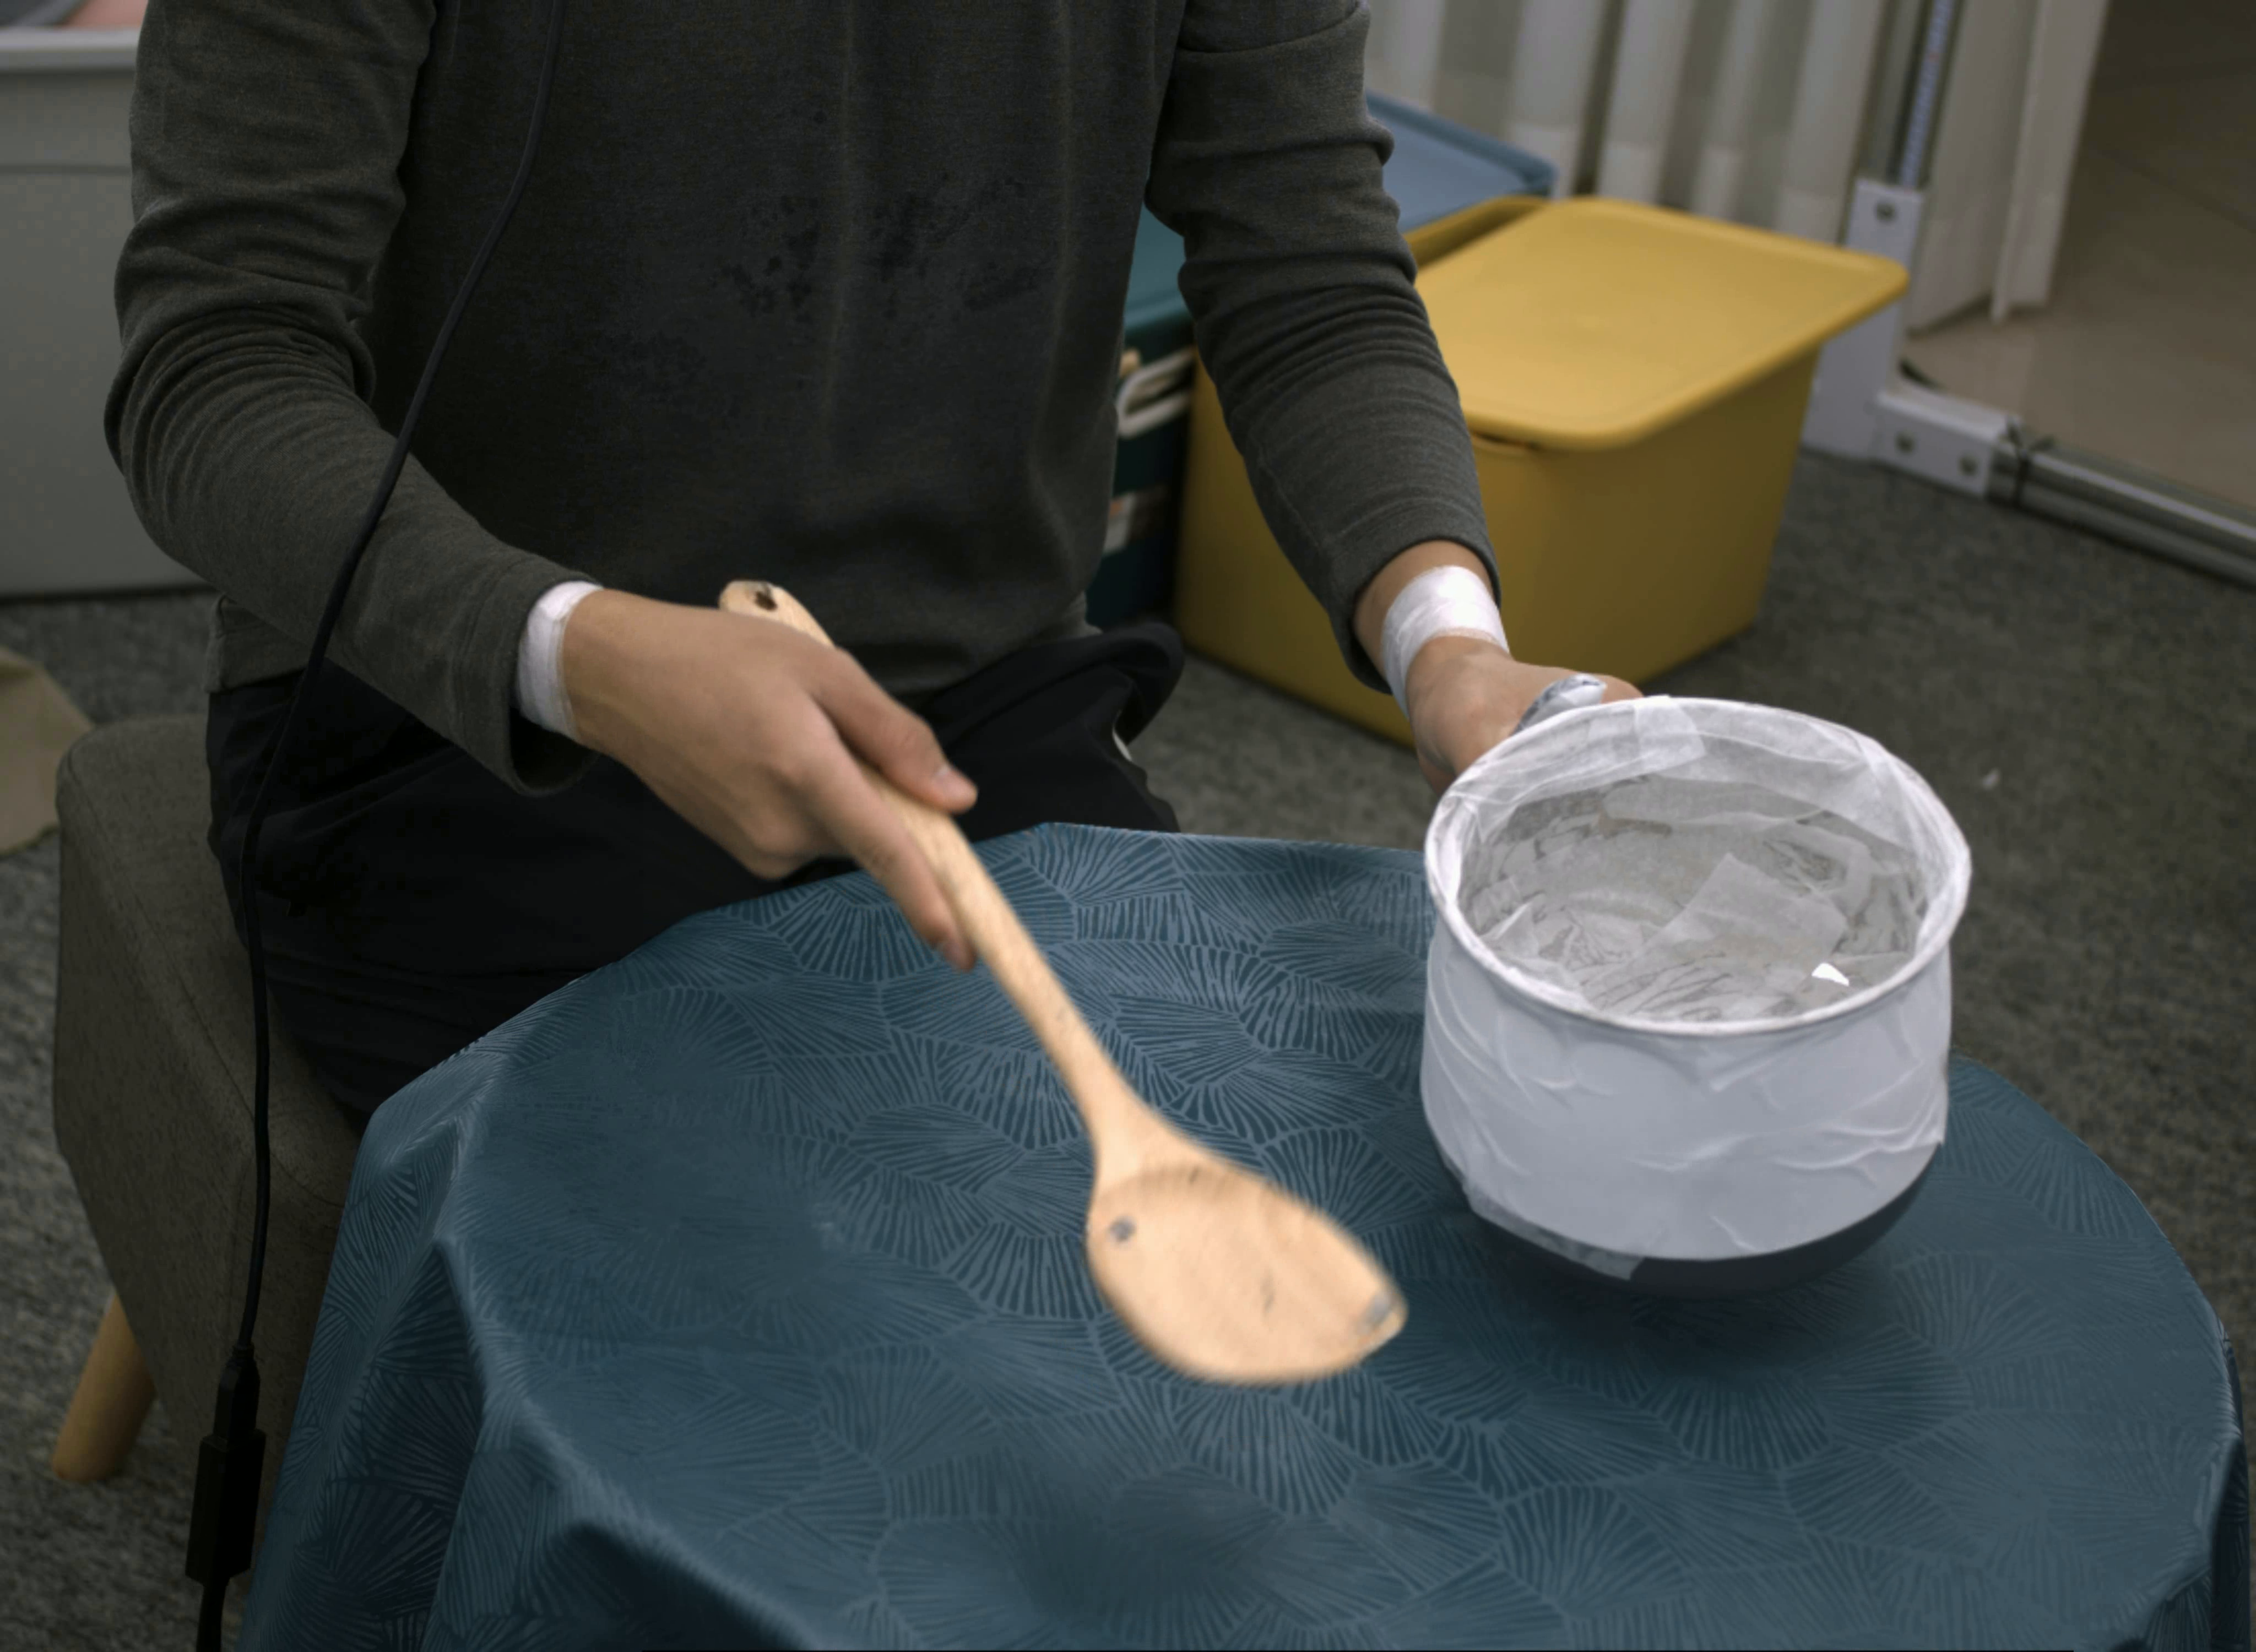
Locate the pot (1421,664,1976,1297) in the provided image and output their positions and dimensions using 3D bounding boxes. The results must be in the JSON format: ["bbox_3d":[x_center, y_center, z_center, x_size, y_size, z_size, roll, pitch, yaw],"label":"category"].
[{"bbox_3d":[0.177,0.042,1.782,0.178,0.136,0.236,-12,39,-15],"label":"pot"}]

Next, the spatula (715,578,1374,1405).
[{"bbox_3d":[-0.047,0.045,1.688,0.095,0.018,0.394,-3,43,-35],"label":"spatula"}]
